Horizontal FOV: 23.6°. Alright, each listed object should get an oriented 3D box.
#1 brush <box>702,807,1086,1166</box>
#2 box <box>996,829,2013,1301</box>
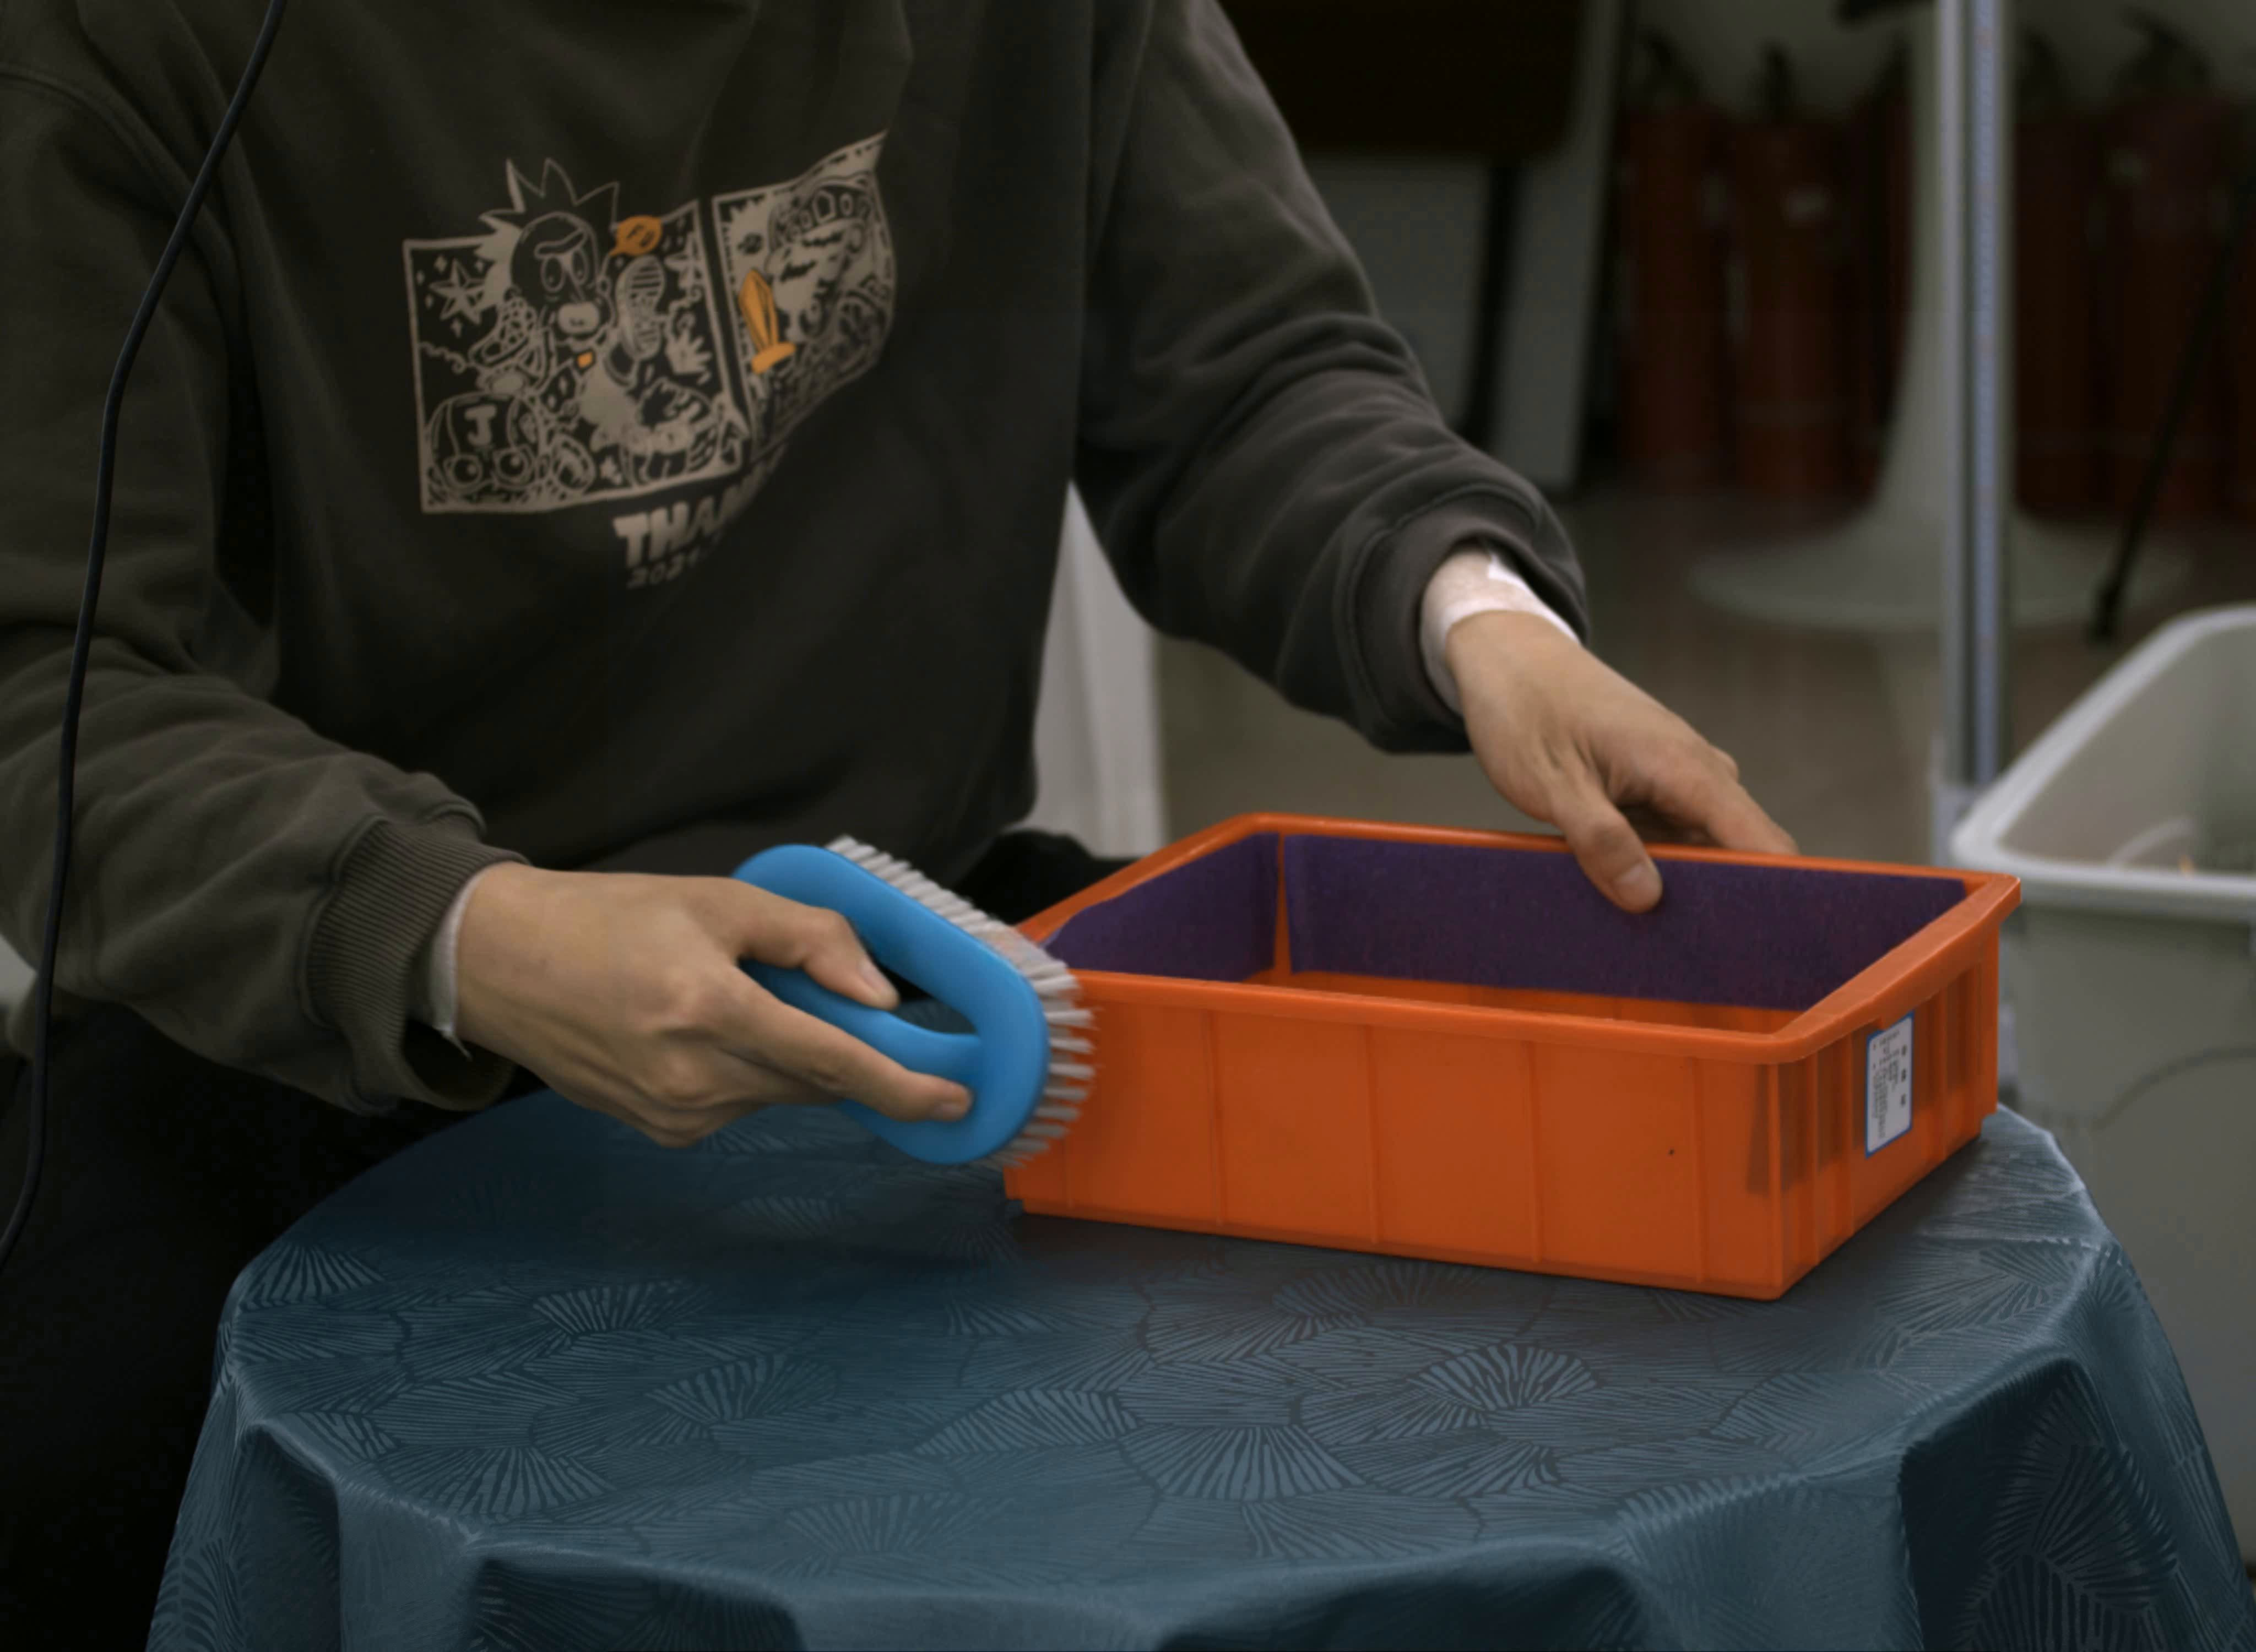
[{"bbox_3d":[-0.085,0.053,1.715,0.143,0.085,0.062,34,20,29],"label":"brush"},{"bbox_3d":[0.120,0.074,1.755,0.305,0.097,0.203,4,16,31],"label":"box"}]
